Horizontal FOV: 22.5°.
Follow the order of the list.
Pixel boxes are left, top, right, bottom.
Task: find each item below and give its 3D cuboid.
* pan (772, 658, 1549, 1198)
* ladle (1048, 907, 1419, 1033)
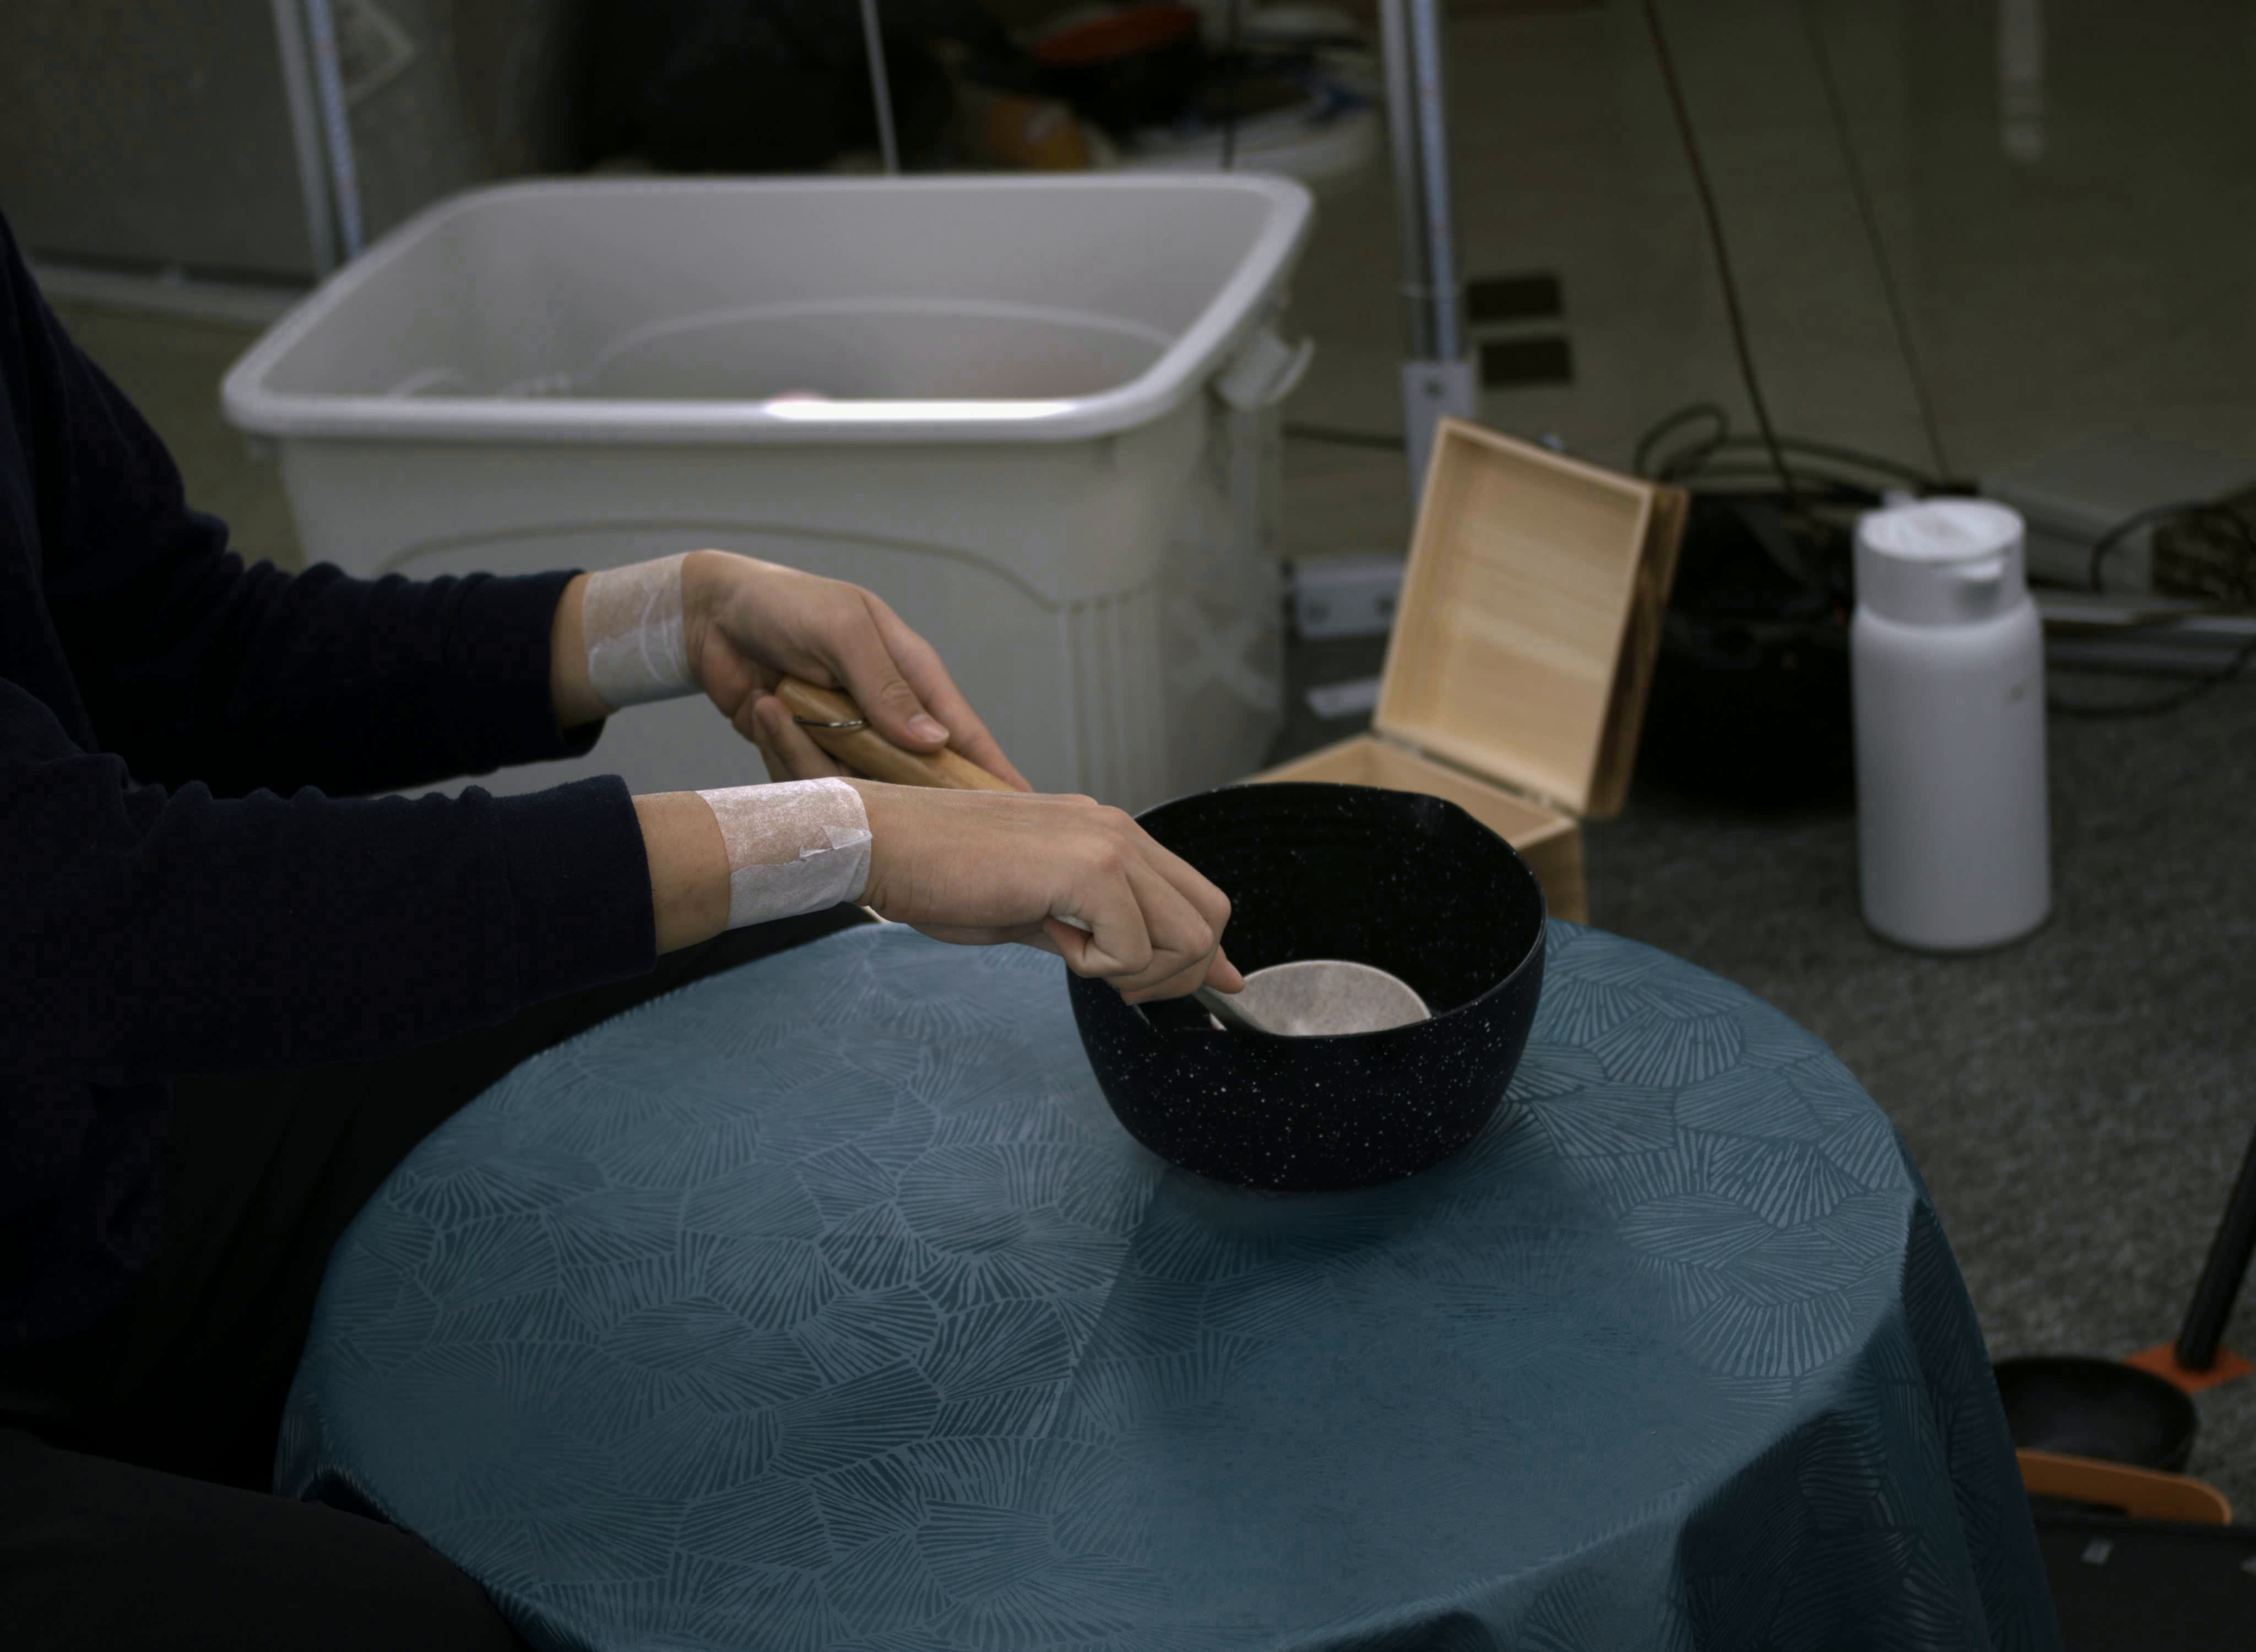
[{"bbox_3d":[0.001,0.032,2.196,0.340,0.110,0.205,20,38,27],"label":"pan"},{"bbox_3d":[0.038,0.046,2.063,0.088,0.277,0.069,25,82,26],"label":"ladle"}]
